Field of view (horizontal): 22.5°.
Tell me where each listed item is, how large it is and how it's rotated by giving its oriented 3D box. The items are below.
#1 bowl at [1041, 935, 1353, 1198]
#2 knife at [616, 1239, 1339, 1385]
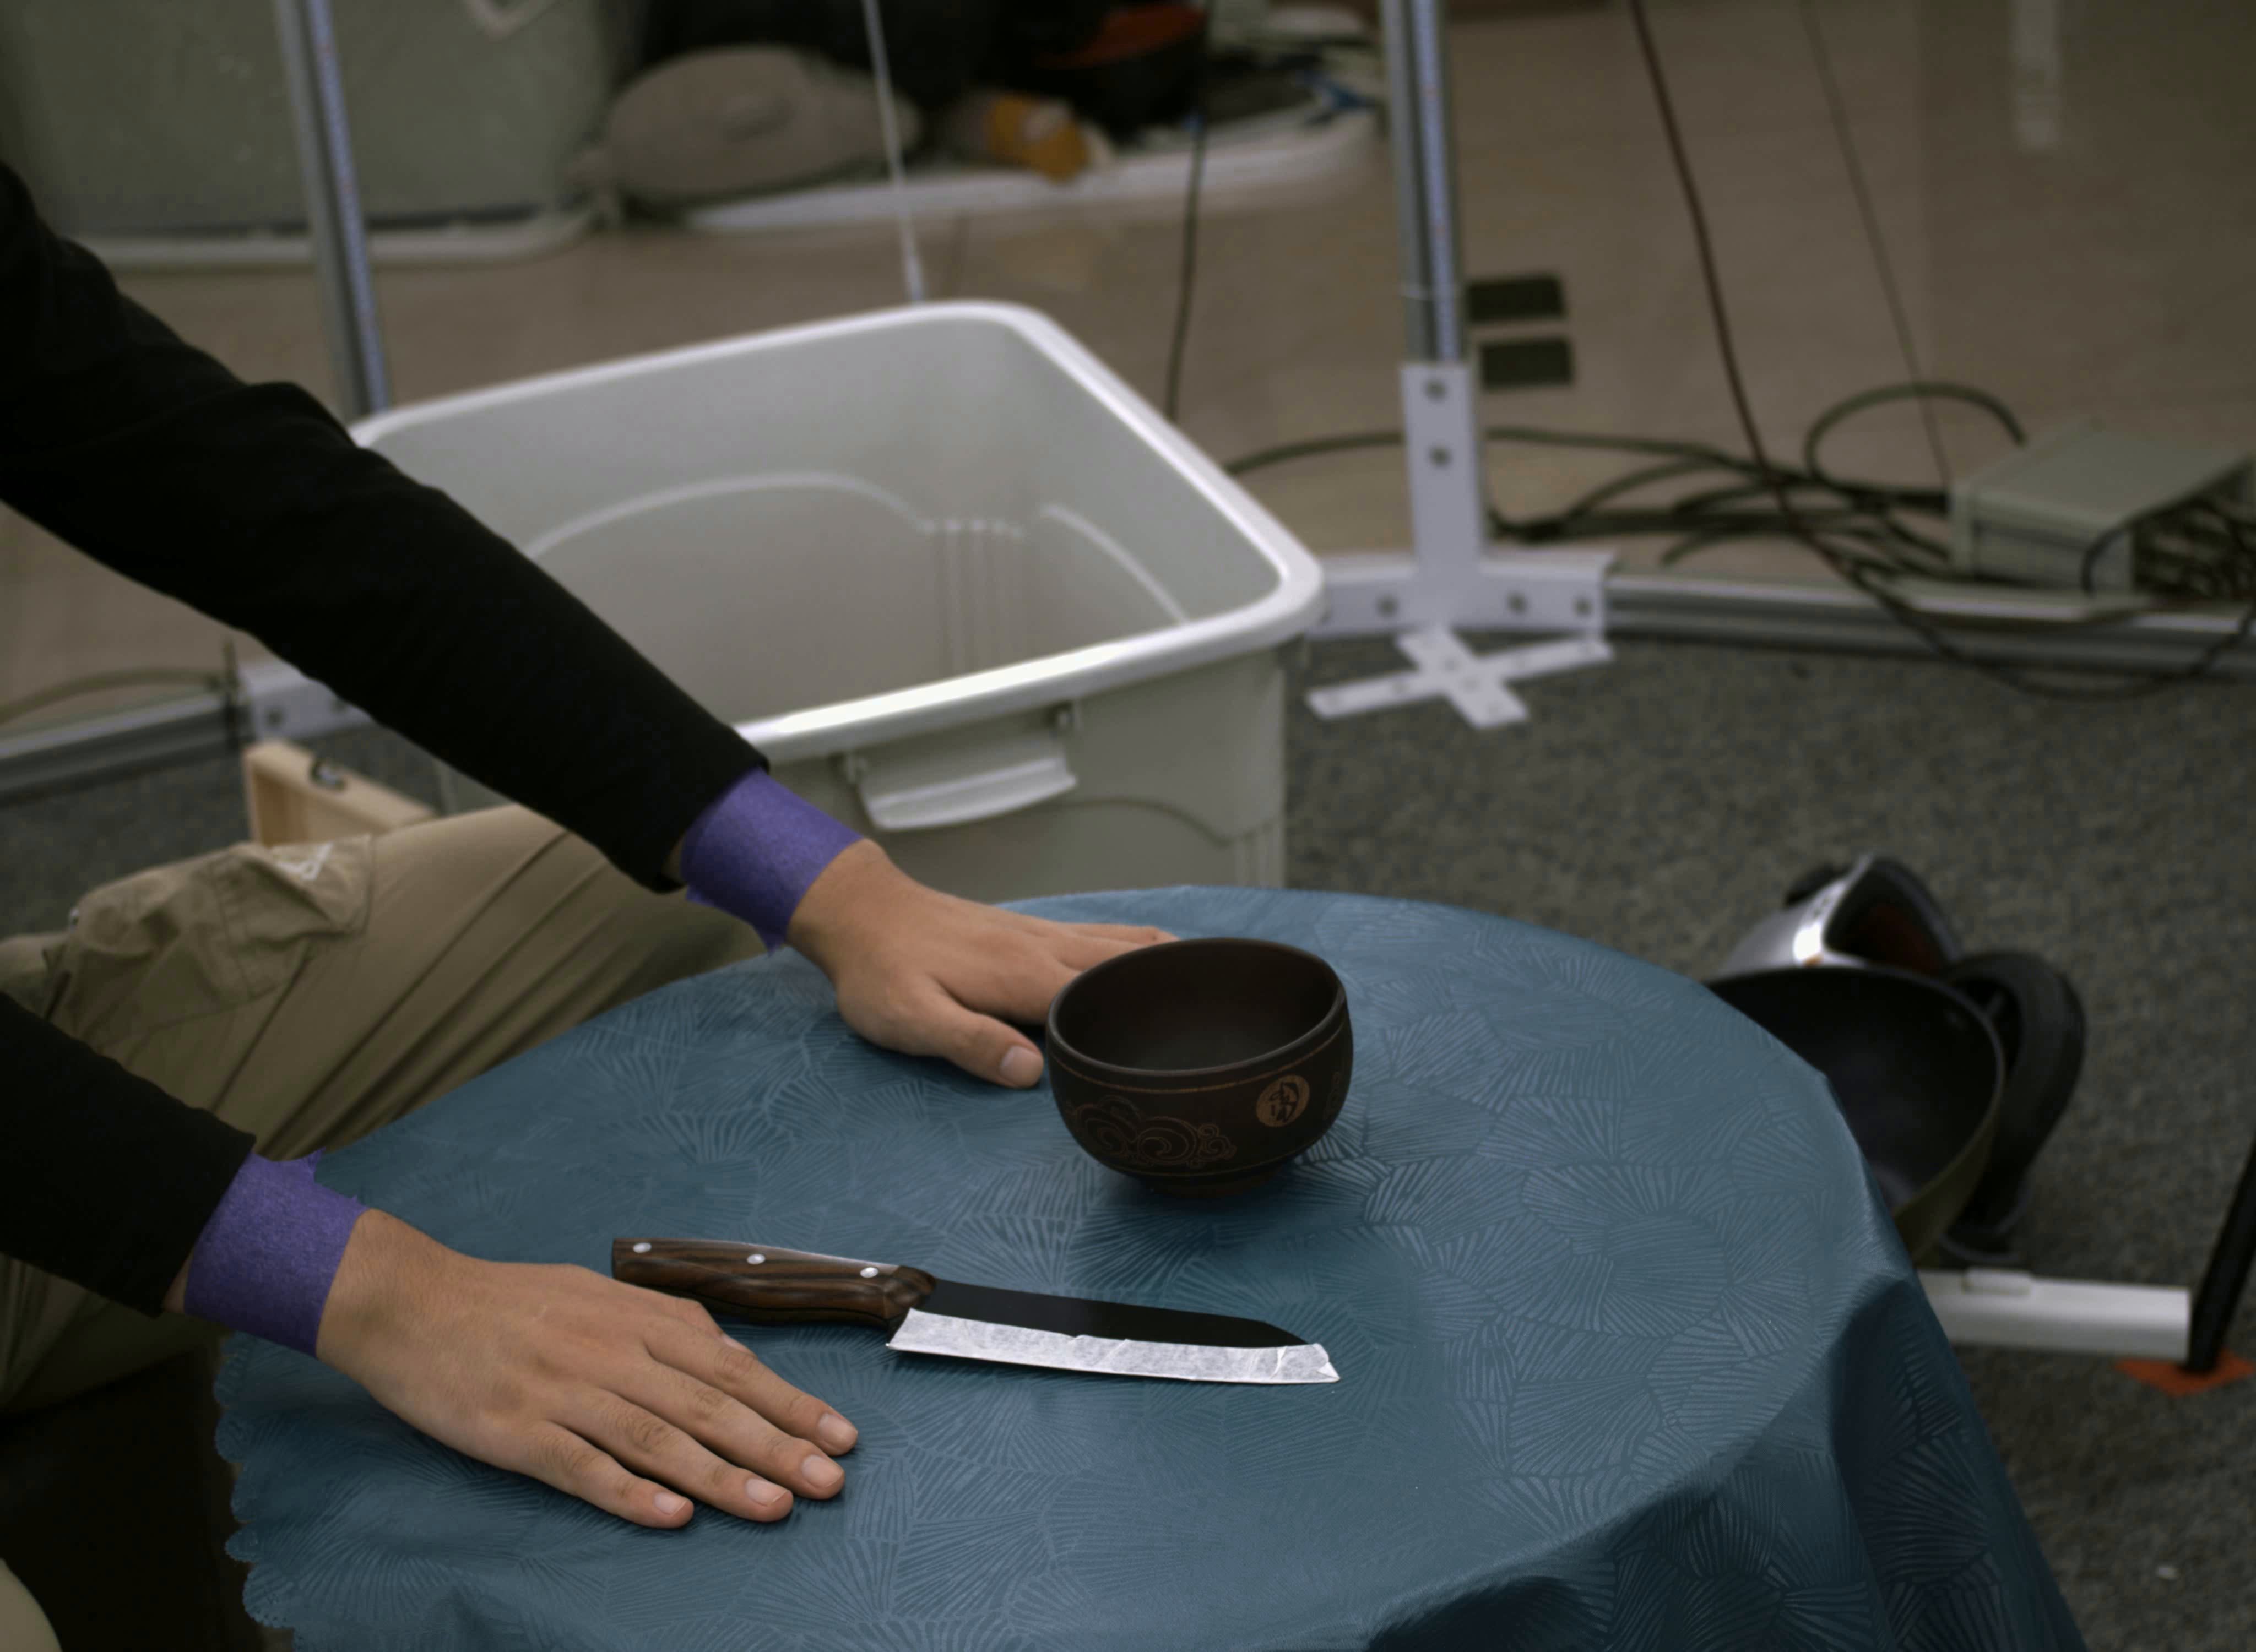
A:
[{"bbox_3d":[0.028,0.098,2.149,0.118,0.071,0.116,-7,26,3],"label":"bowl"},{"bbox_3d":[-0.058,0.178,2.062,0.288,0.020,0.049,6,33,20],"label":"knife"}]
